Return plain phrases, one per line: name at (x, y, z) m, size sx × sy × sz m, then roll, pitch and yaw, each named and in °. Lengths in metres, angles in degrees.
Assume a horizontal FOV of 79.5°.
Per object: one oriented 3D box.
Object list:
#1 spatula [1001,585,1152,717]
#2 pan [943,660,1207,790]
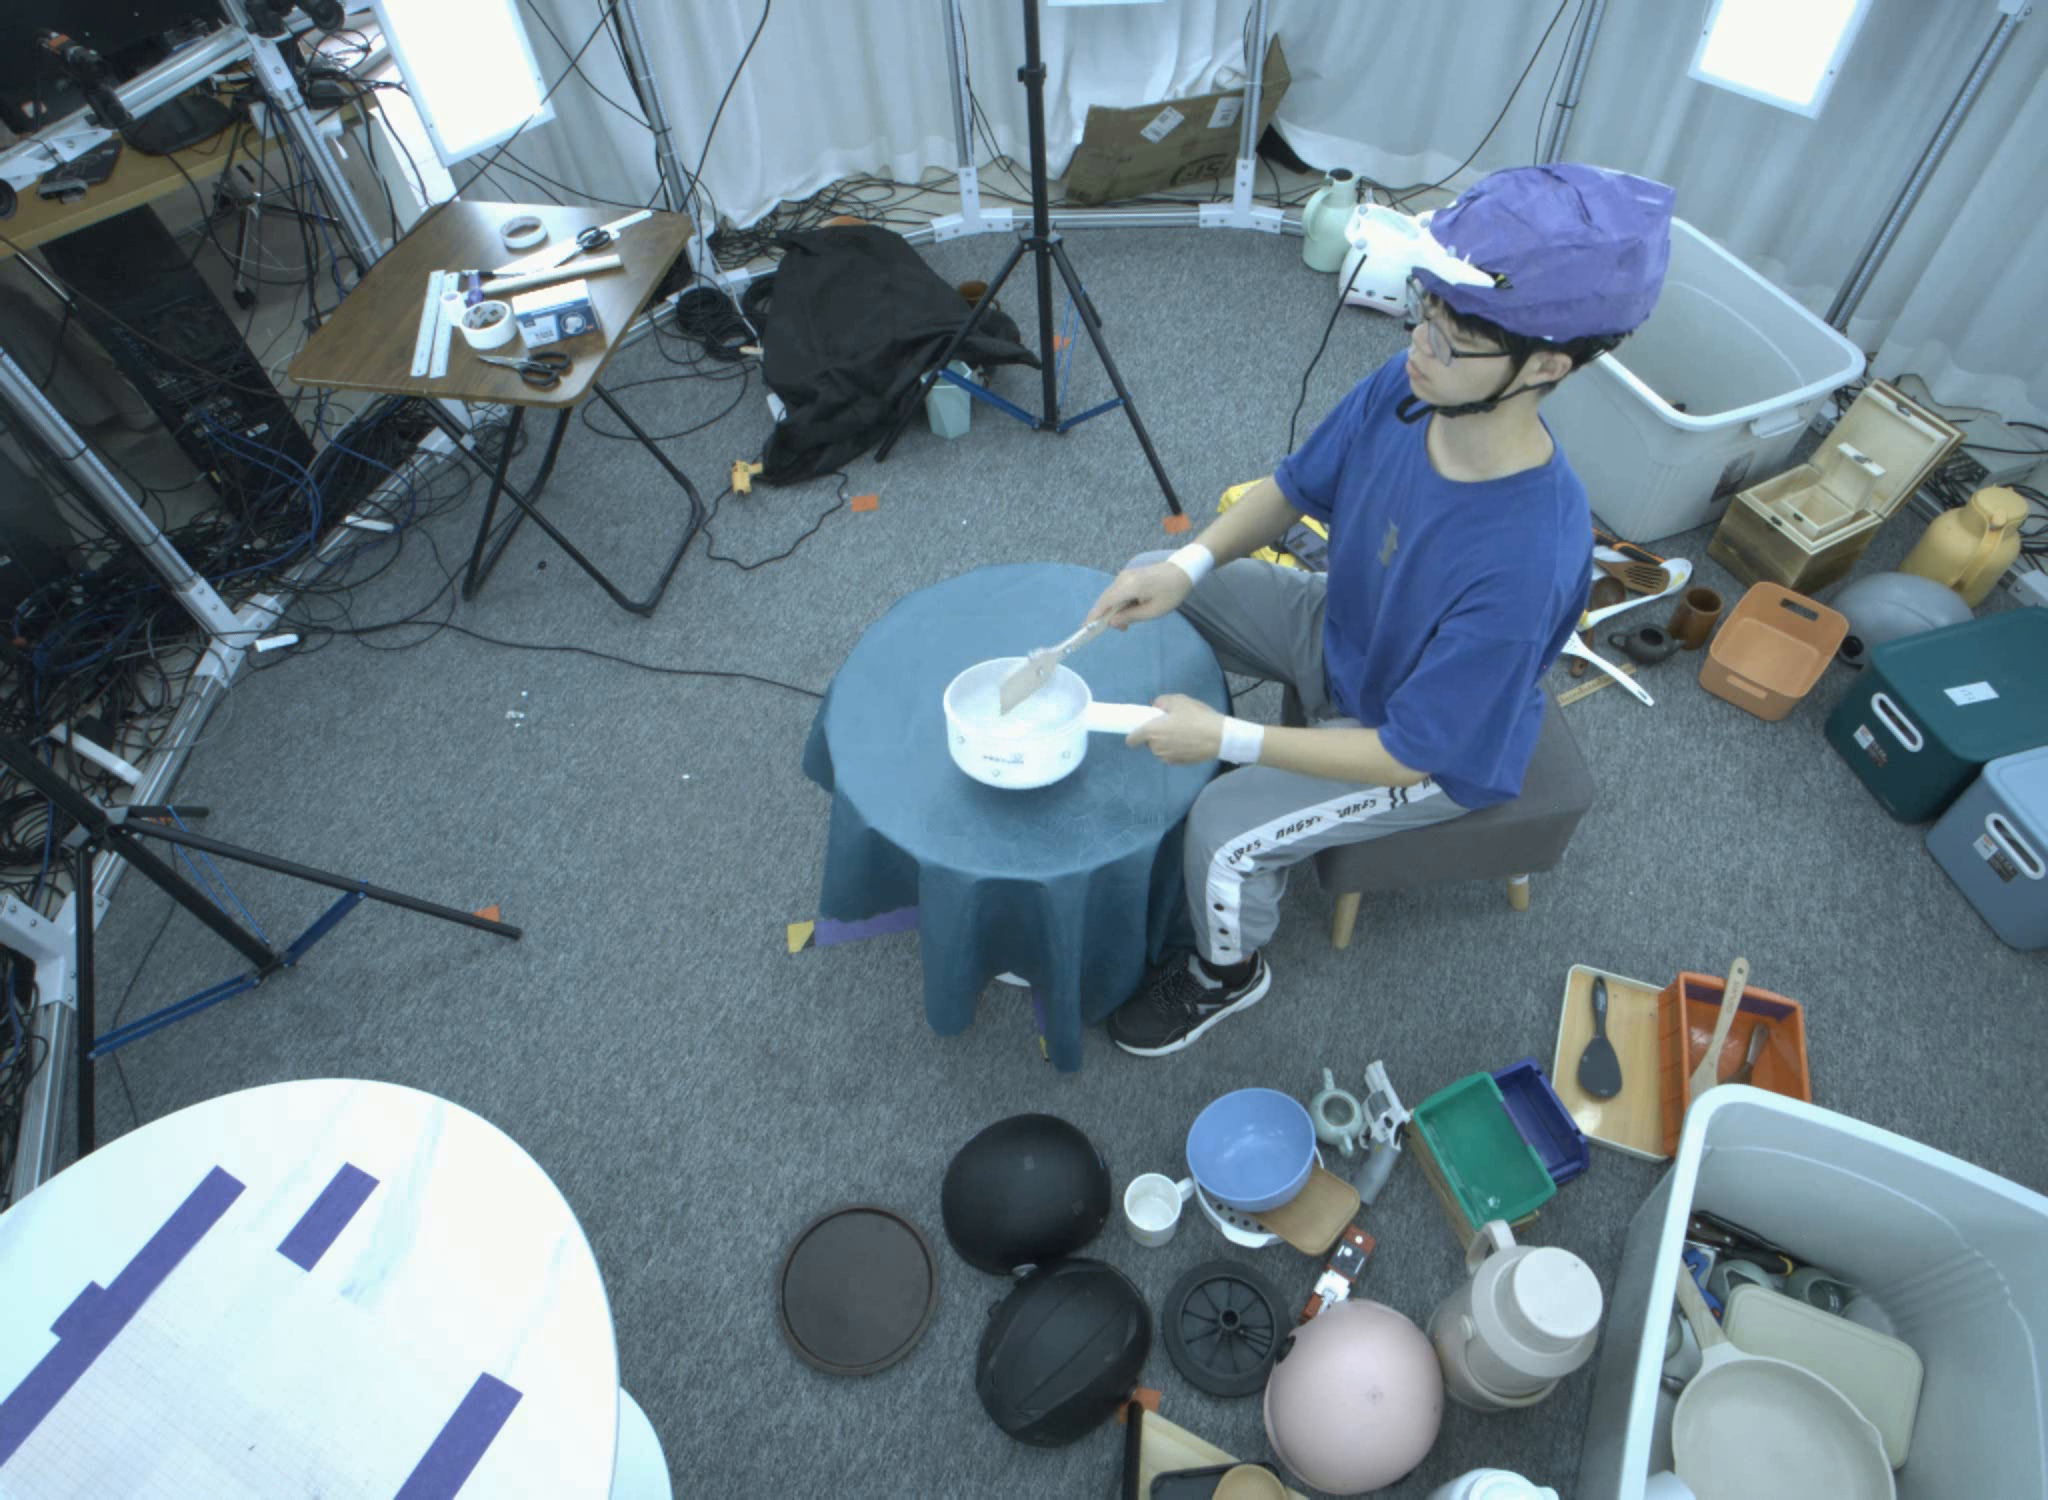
spatula at (0.074, -0.146, 1.692) m, size 0.295 × 0.073 × 0.010 m, roll -38°, pitch 63°, yaw -24°
pan at (0.068, -0.023, 1.675) m, size 0.353 × 0.103 × 0.200 m, roll 5°, pitch 35°, yaw 6°
